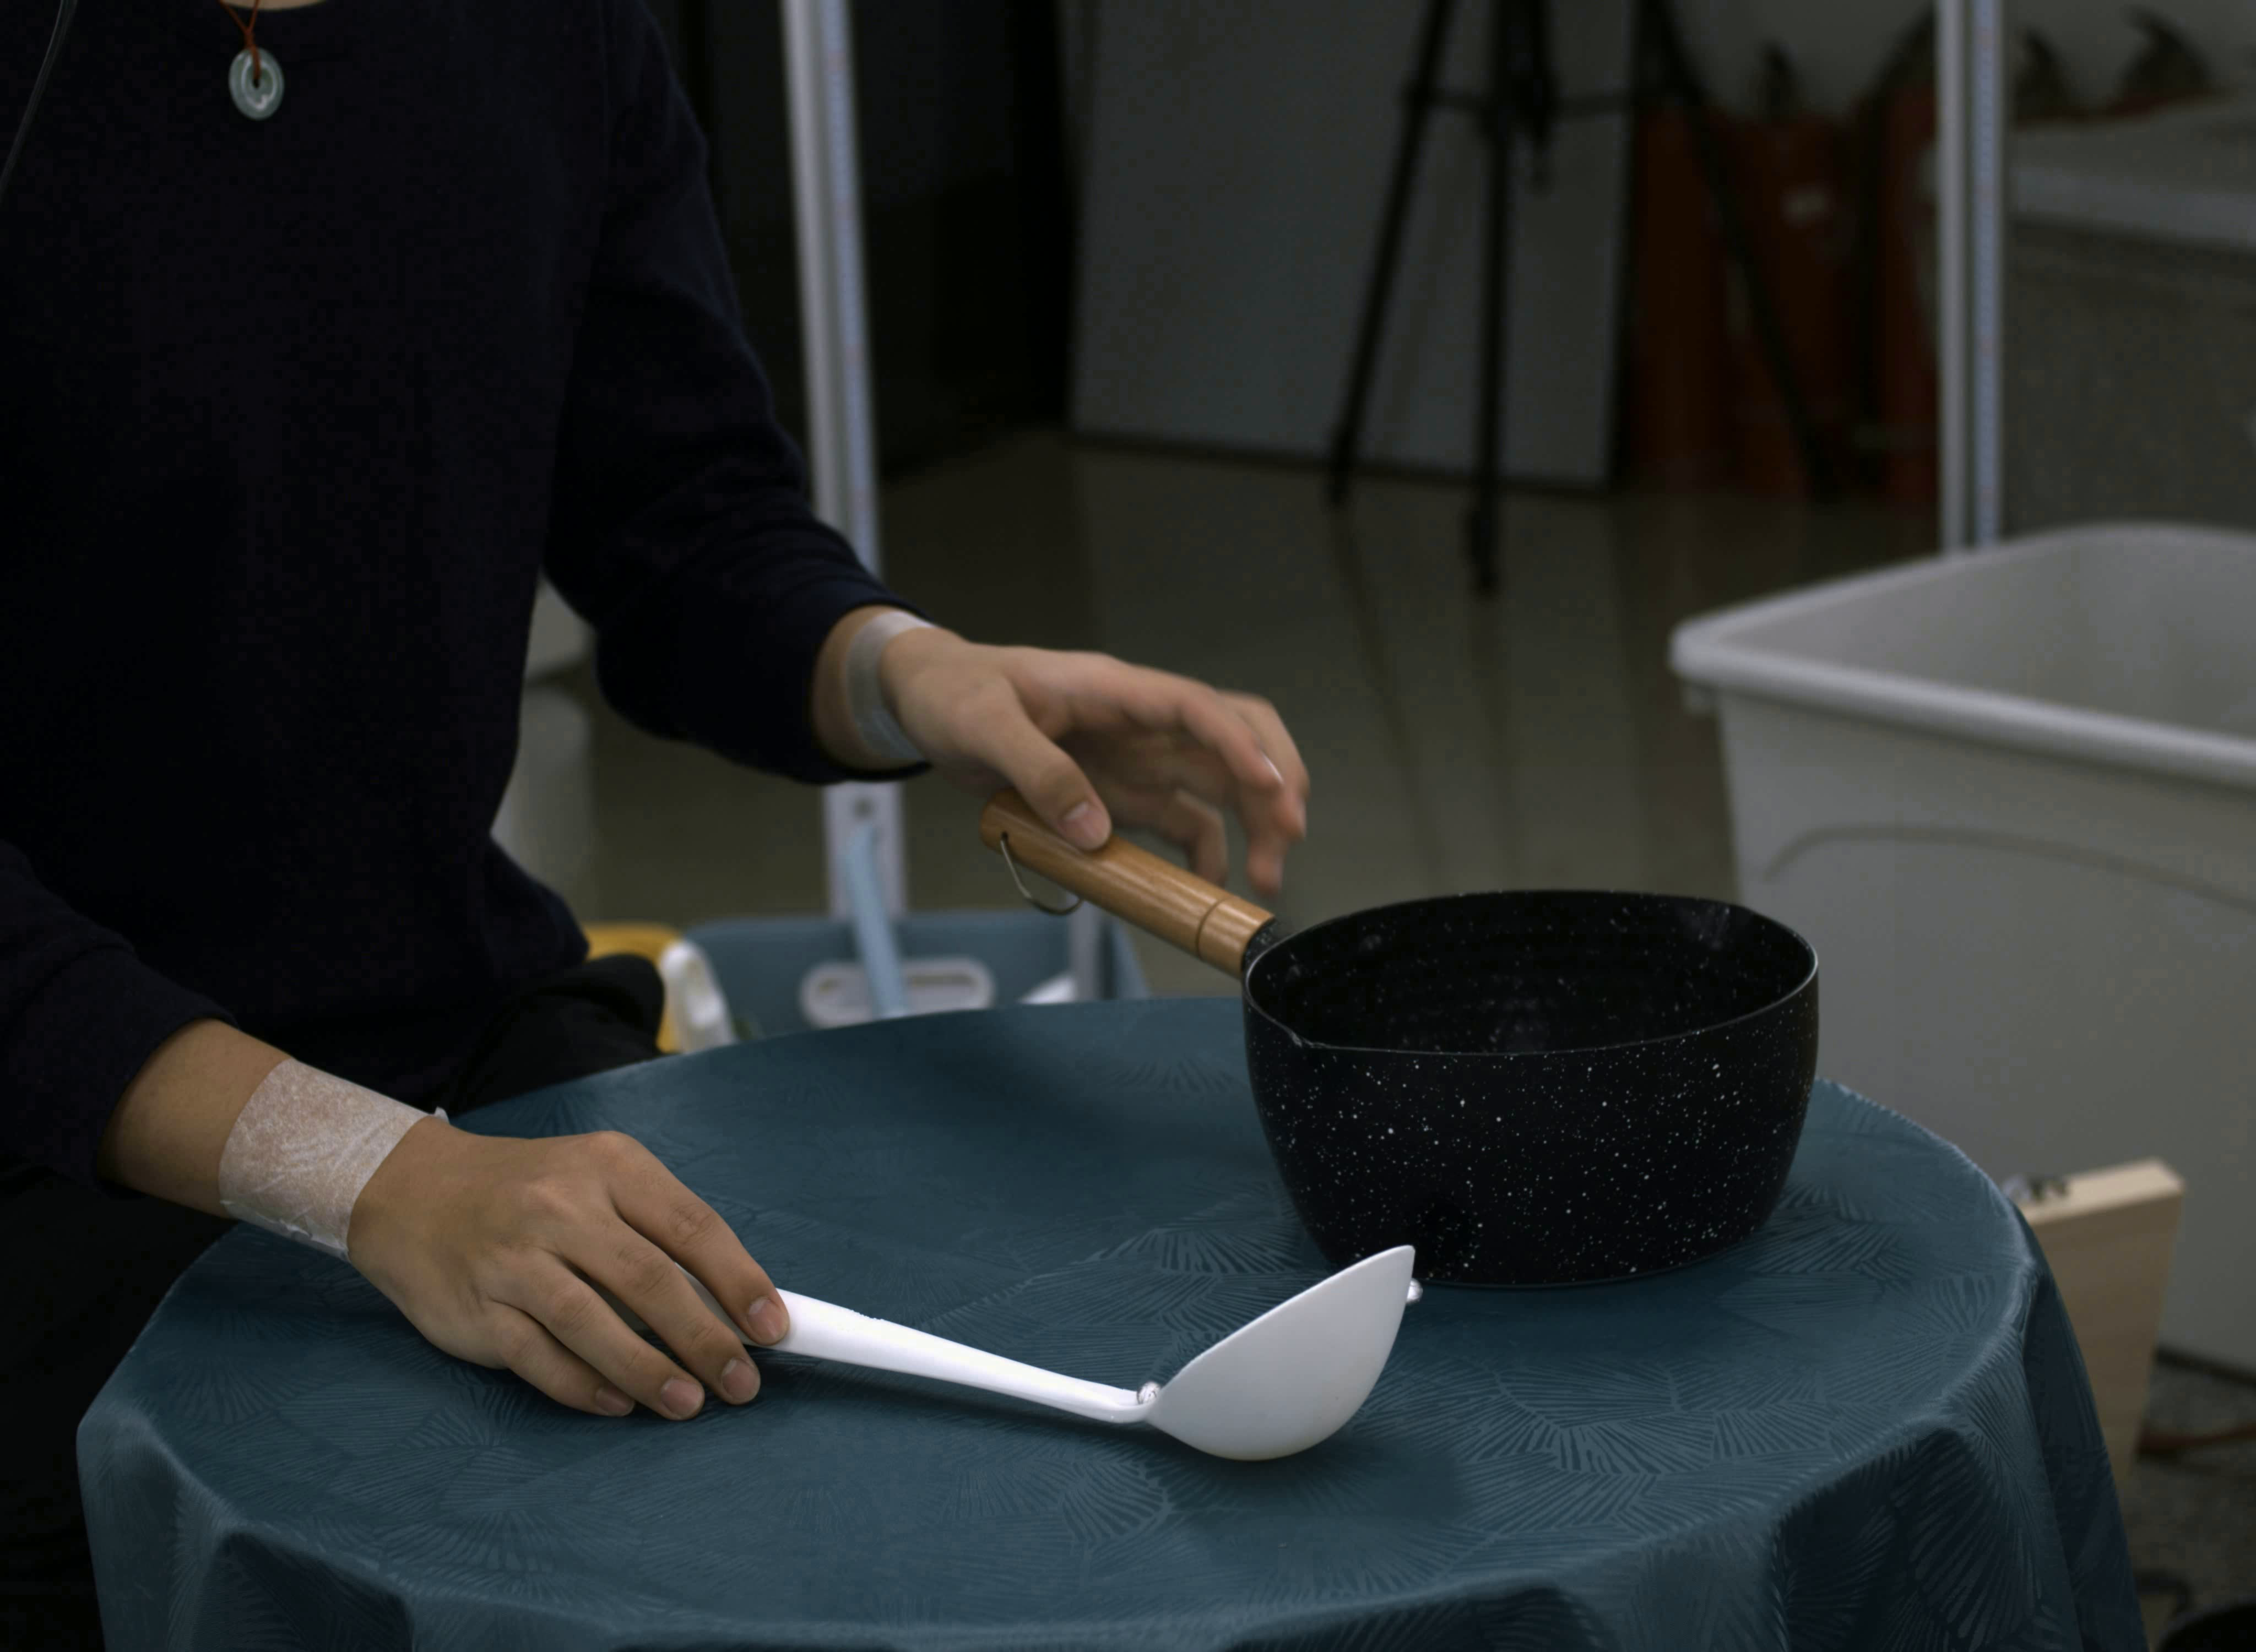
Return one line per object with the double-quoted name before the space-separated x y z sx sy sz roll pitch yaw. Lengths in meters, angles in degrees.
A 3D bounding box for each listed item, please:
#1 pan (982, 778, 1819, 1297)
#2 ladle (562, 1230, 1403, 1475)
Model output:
"pan" 0.073 0.062 1.761 0.203 0.109 0.346 -18 21 -41
"ladle" -0.049 0.144 1.576 0.295 0.071 0.088 4 14 37
